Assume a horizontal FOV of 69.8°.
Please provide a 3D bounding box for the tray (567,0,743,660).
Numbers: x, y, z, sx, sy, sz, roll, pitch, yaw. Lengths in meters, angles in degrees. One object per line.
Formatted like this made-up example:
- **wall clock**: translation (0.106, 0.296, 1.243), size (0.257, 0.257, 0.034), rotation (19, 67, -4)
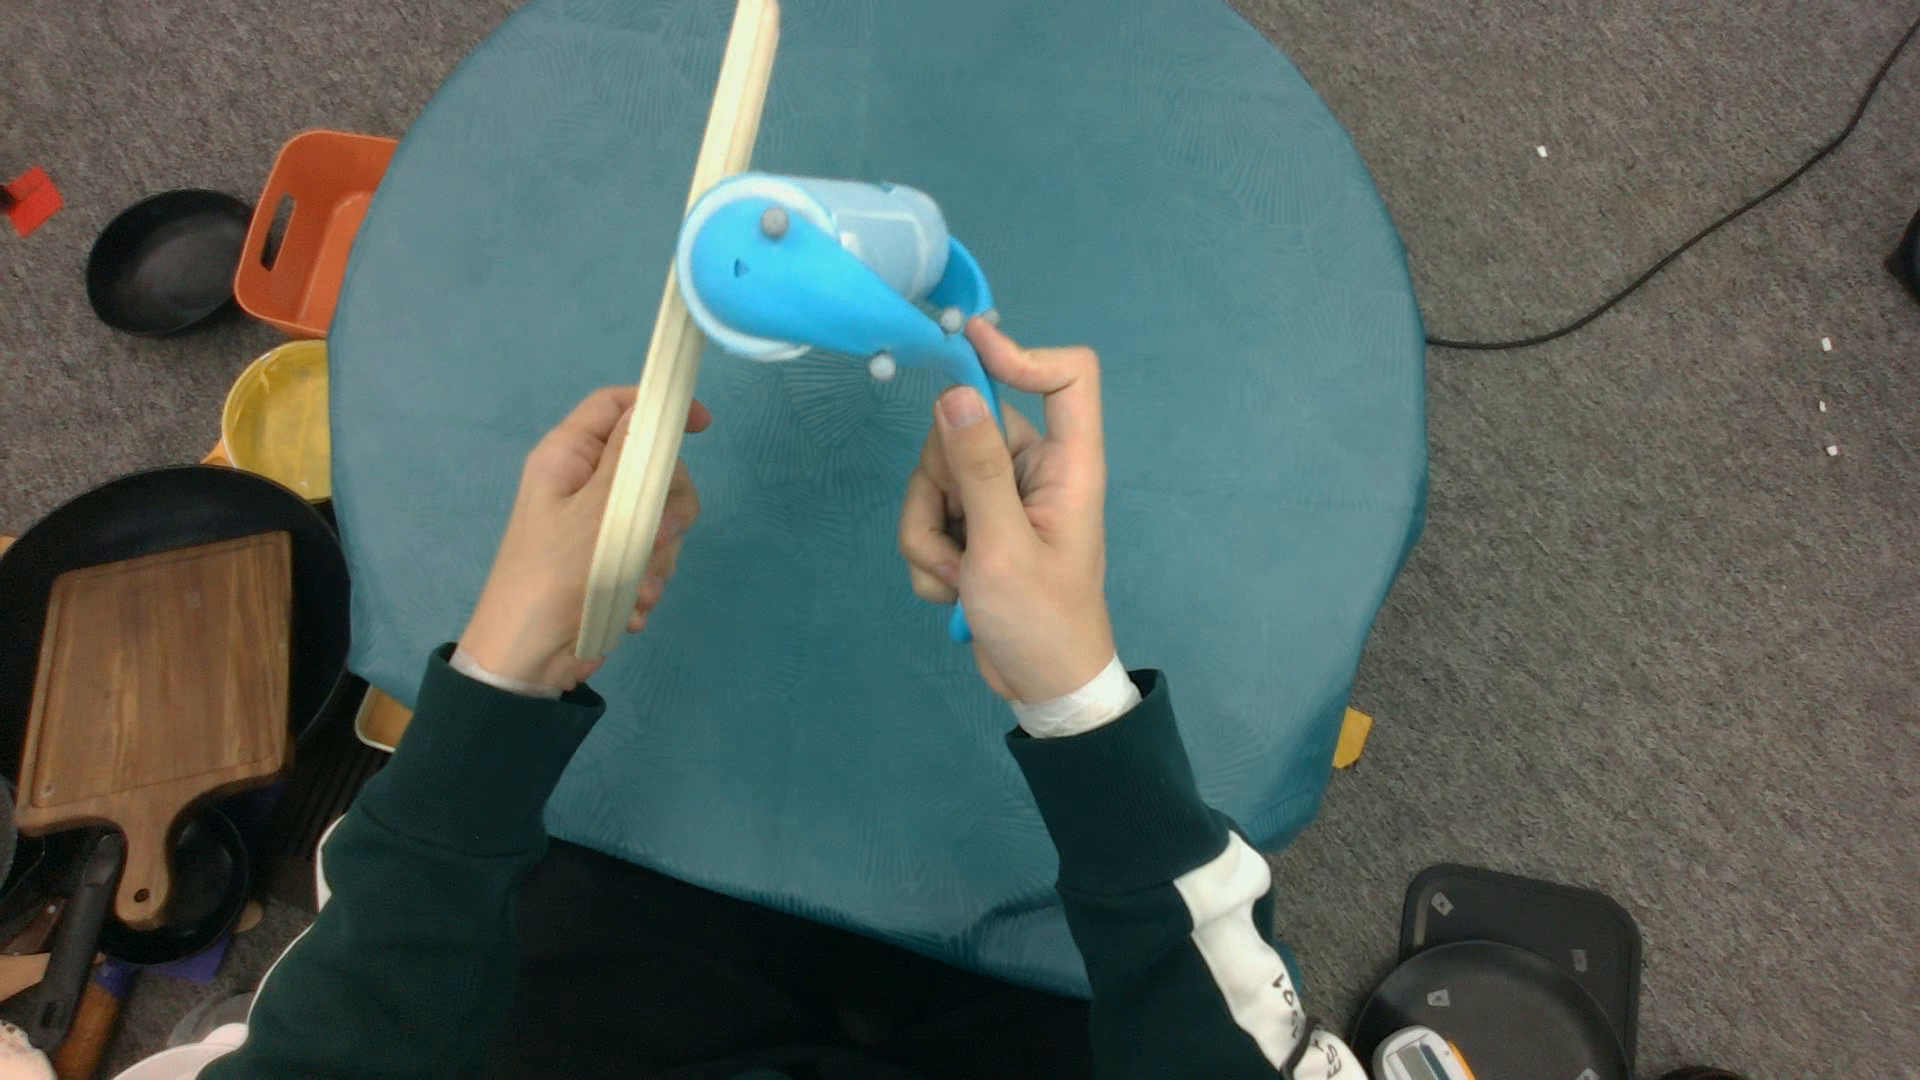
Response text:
- **tray**: translation (-0.117, -0.080, 0.529), size (0.017, 0.170, 0.240), rotation (12, 69, -14)

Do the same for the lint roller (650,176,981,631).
- **lint roller**: translation (-0.027, -0.056, 0.518), size (0.068, 0.229, 0.180), rotation (-28, 102, 11)
